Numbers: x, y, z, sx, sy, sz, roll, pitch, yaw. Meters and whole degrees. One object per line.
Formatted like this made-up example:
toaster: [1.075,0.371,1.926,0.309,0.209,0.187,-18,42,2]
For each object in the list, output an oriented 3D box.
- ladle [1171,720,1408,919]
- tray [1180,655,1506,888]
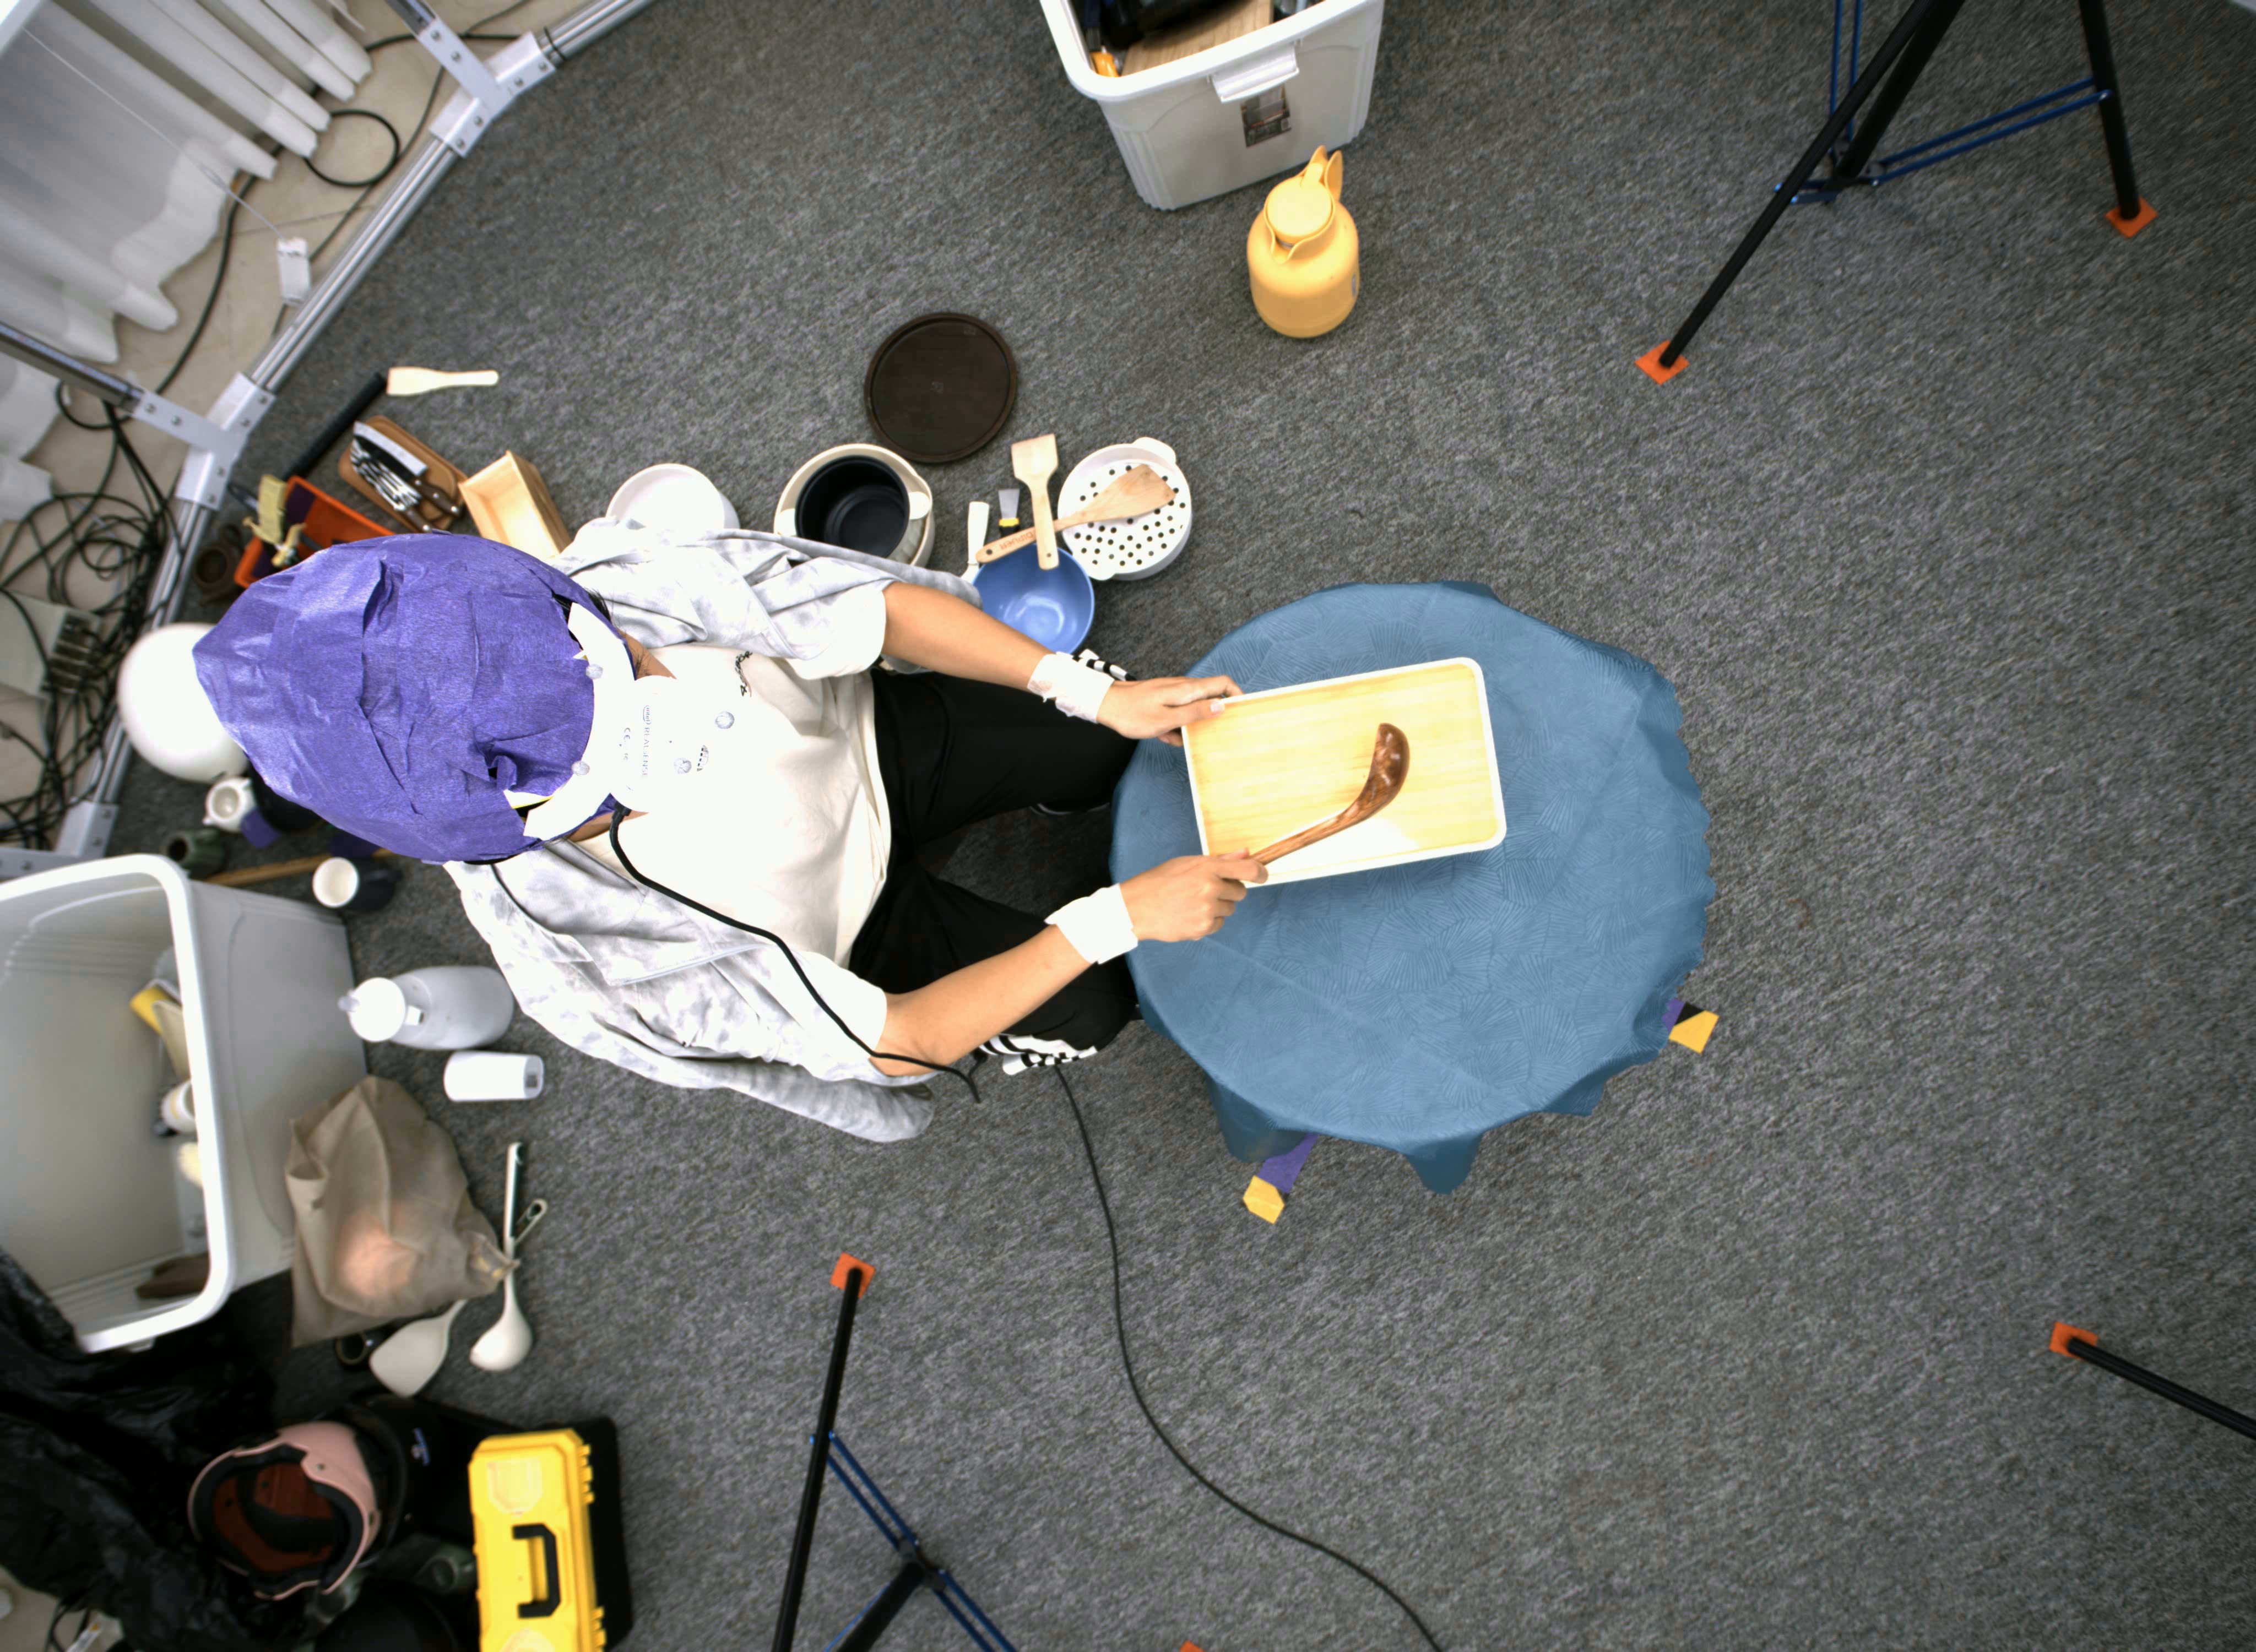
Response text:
ladle: [0.147,-0.009,1.315,0.276,0.082,0.075,-29,69,12]
tray: [0.213,-0.055,1.371,0.301,0.027,0.192,-10,97,7]
